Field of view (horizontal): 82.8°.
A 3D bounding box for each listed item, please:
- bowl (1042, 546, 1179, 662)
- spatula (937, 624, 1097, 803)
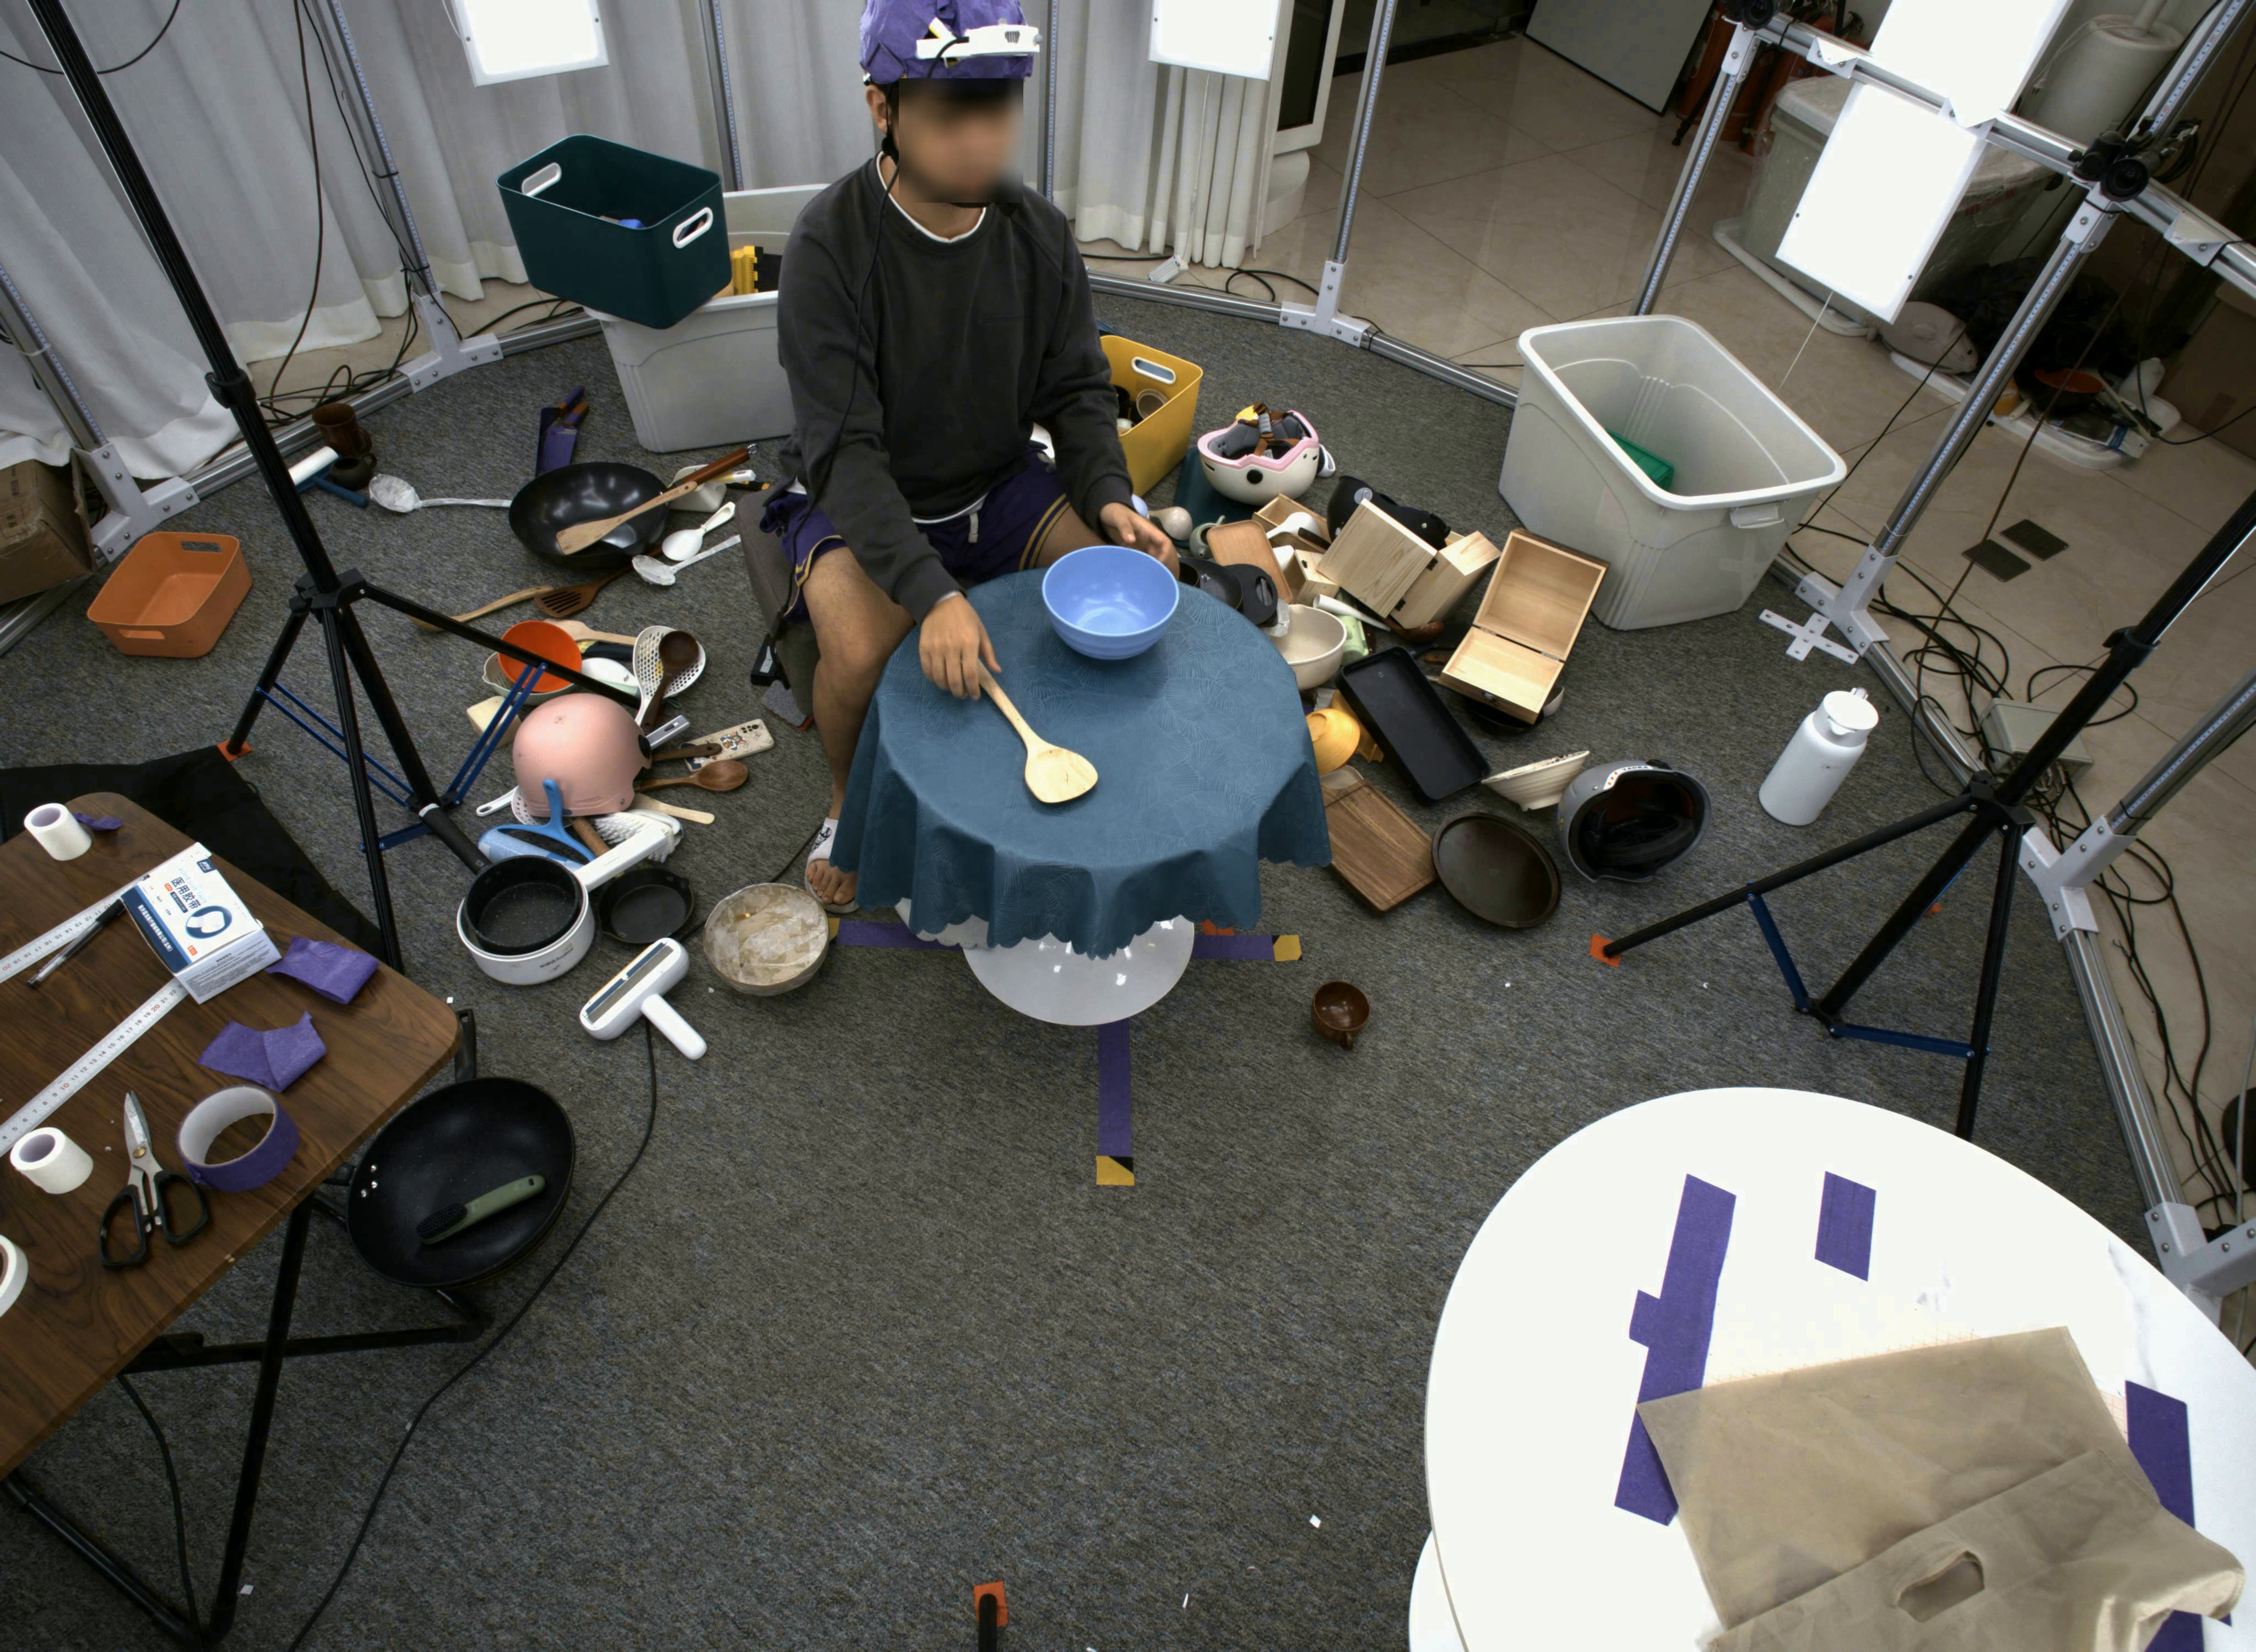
[{"bbox_3d":[-0.027,-0.309,1.875,0.196,0.093,0.201,1,51,-1],"label":"bowl"},{"bbox_3d":[-0.175,-0.165,1.786,0.096,0.018,0.399,-22,54,-24],"label":"spatula"}]
